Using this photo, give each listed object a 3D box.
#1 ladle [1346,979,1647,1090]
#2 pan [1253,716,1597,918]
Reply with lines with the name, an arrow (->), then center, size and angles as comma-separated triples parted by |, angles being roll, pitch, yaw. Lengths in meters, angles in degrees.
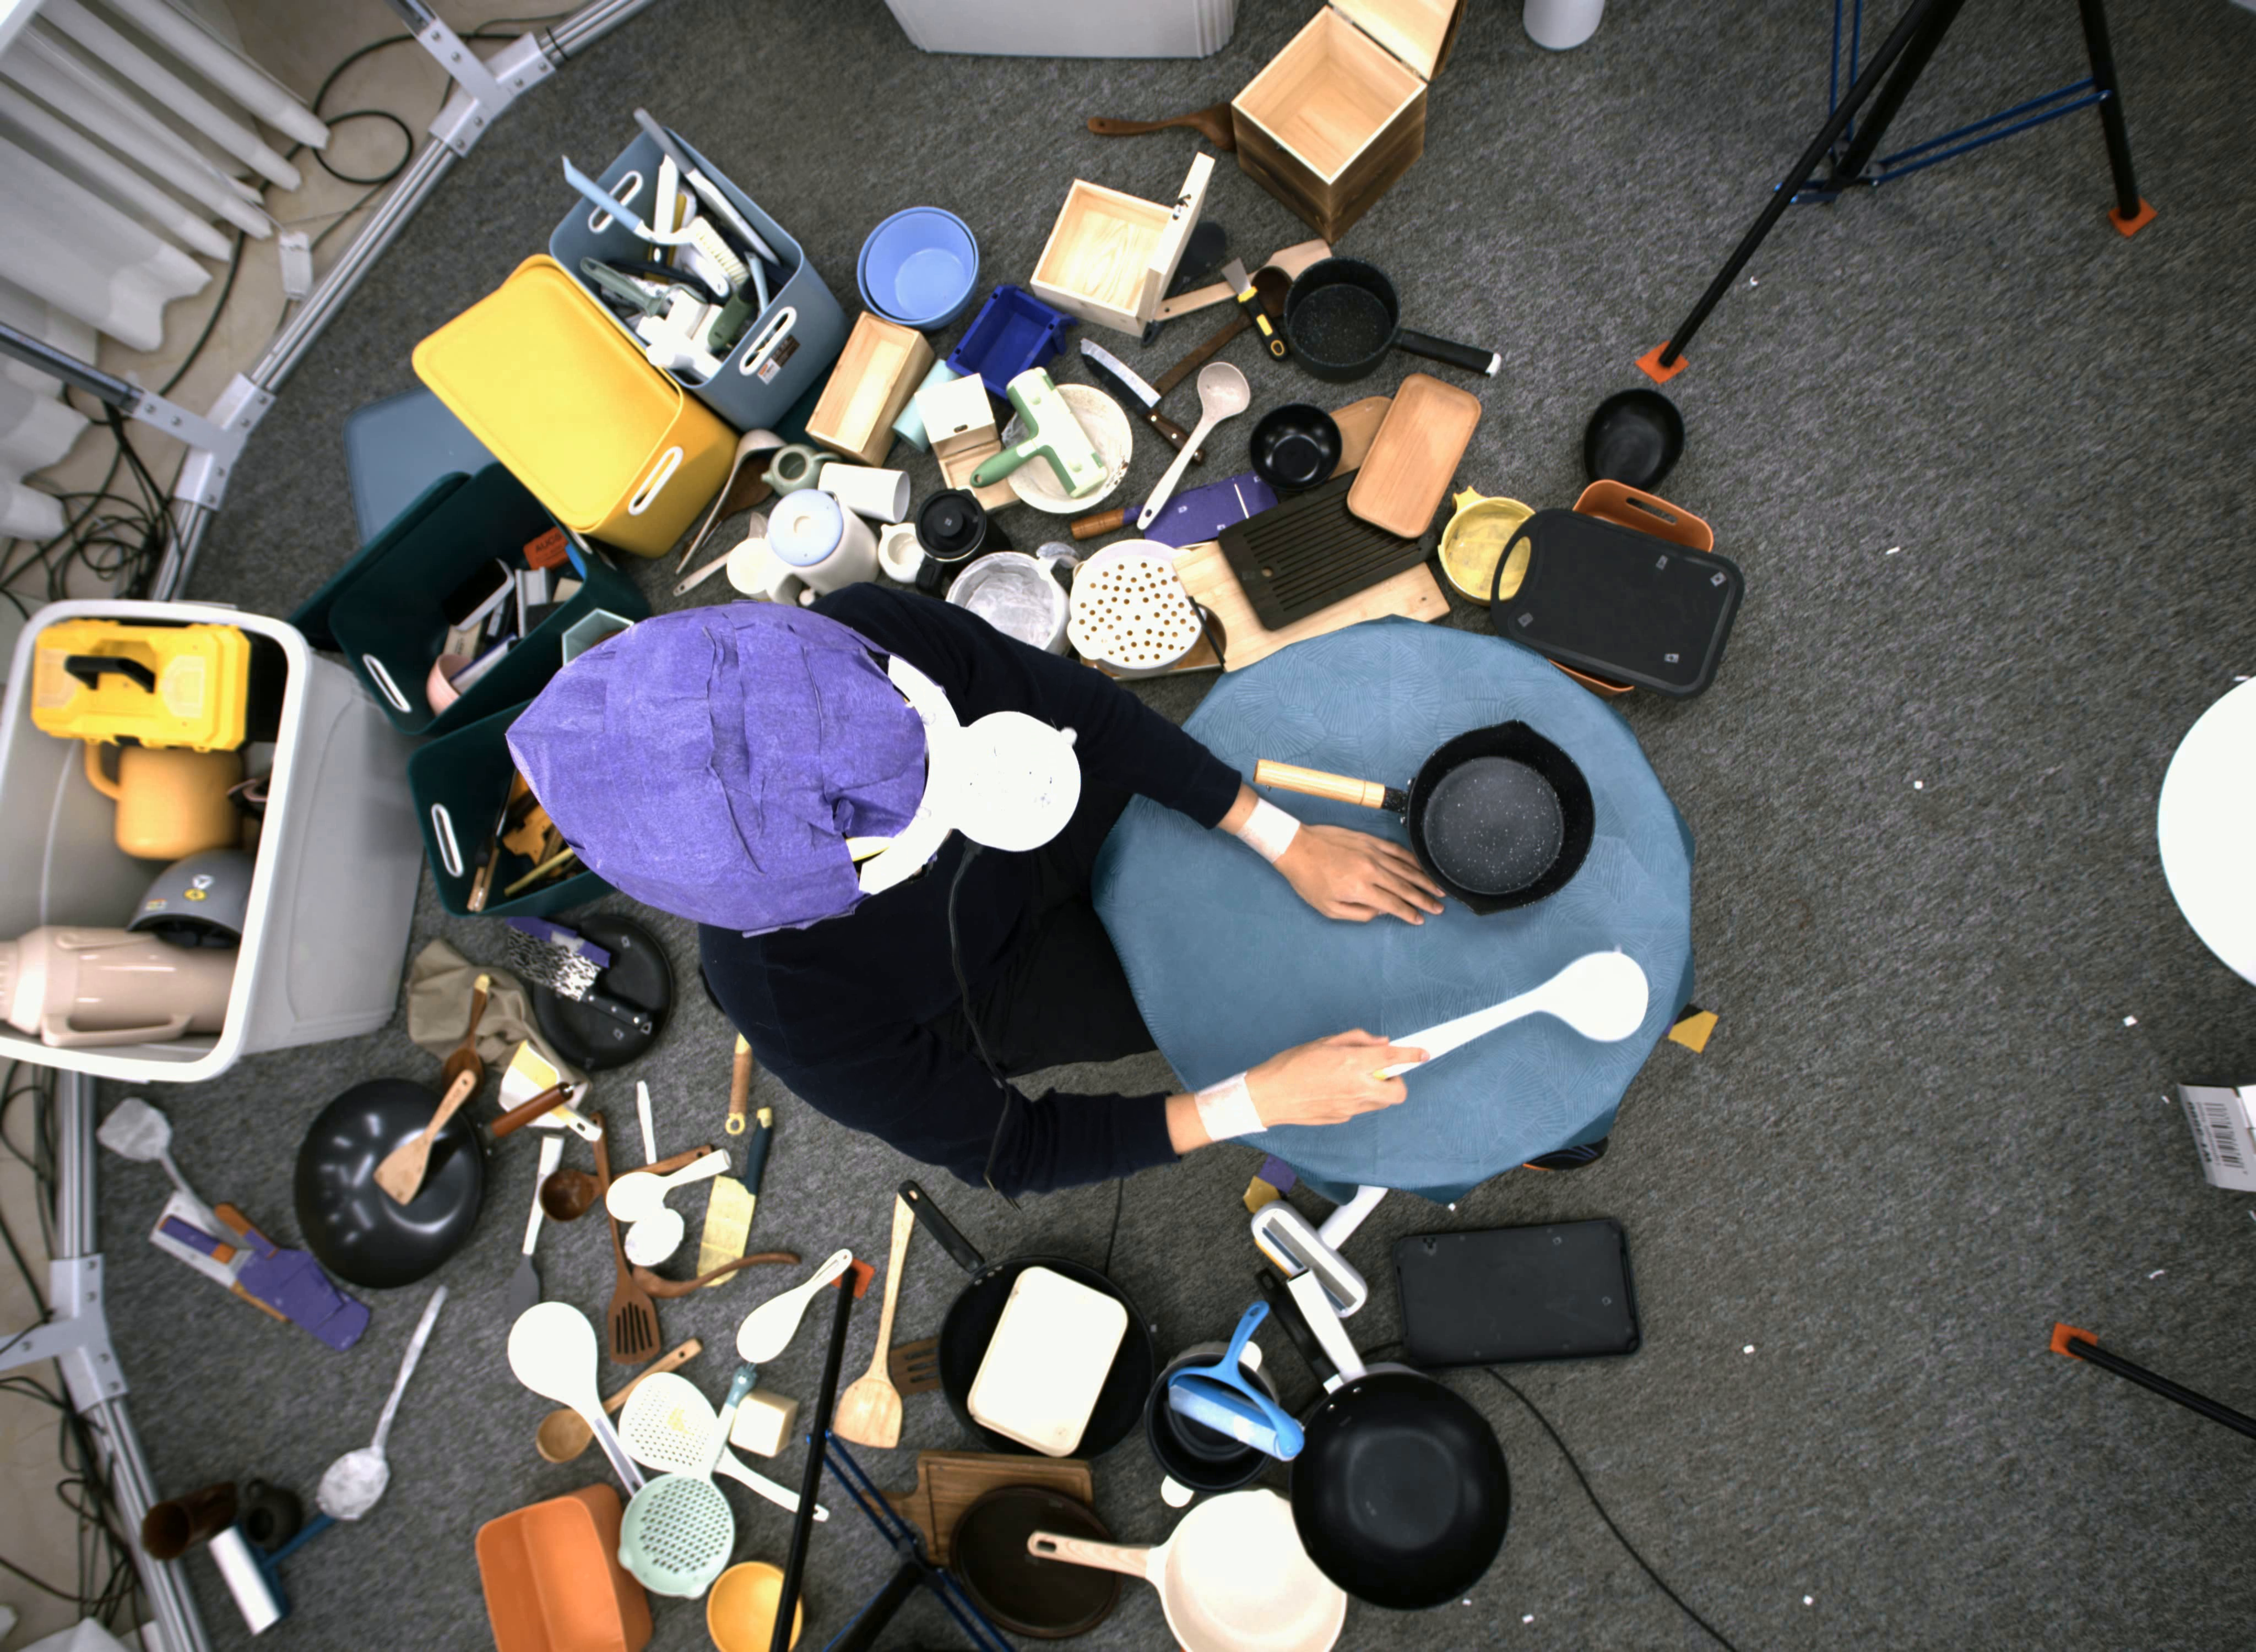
ladle -> 0.357, 0.208, 1.330 | 0.291, 0.069, 0.092 | -14, 122, -13
pan -> 0.297, -0.020, 1.405 | 0.343, 0.108, 0.207 | 10, 89, 10
